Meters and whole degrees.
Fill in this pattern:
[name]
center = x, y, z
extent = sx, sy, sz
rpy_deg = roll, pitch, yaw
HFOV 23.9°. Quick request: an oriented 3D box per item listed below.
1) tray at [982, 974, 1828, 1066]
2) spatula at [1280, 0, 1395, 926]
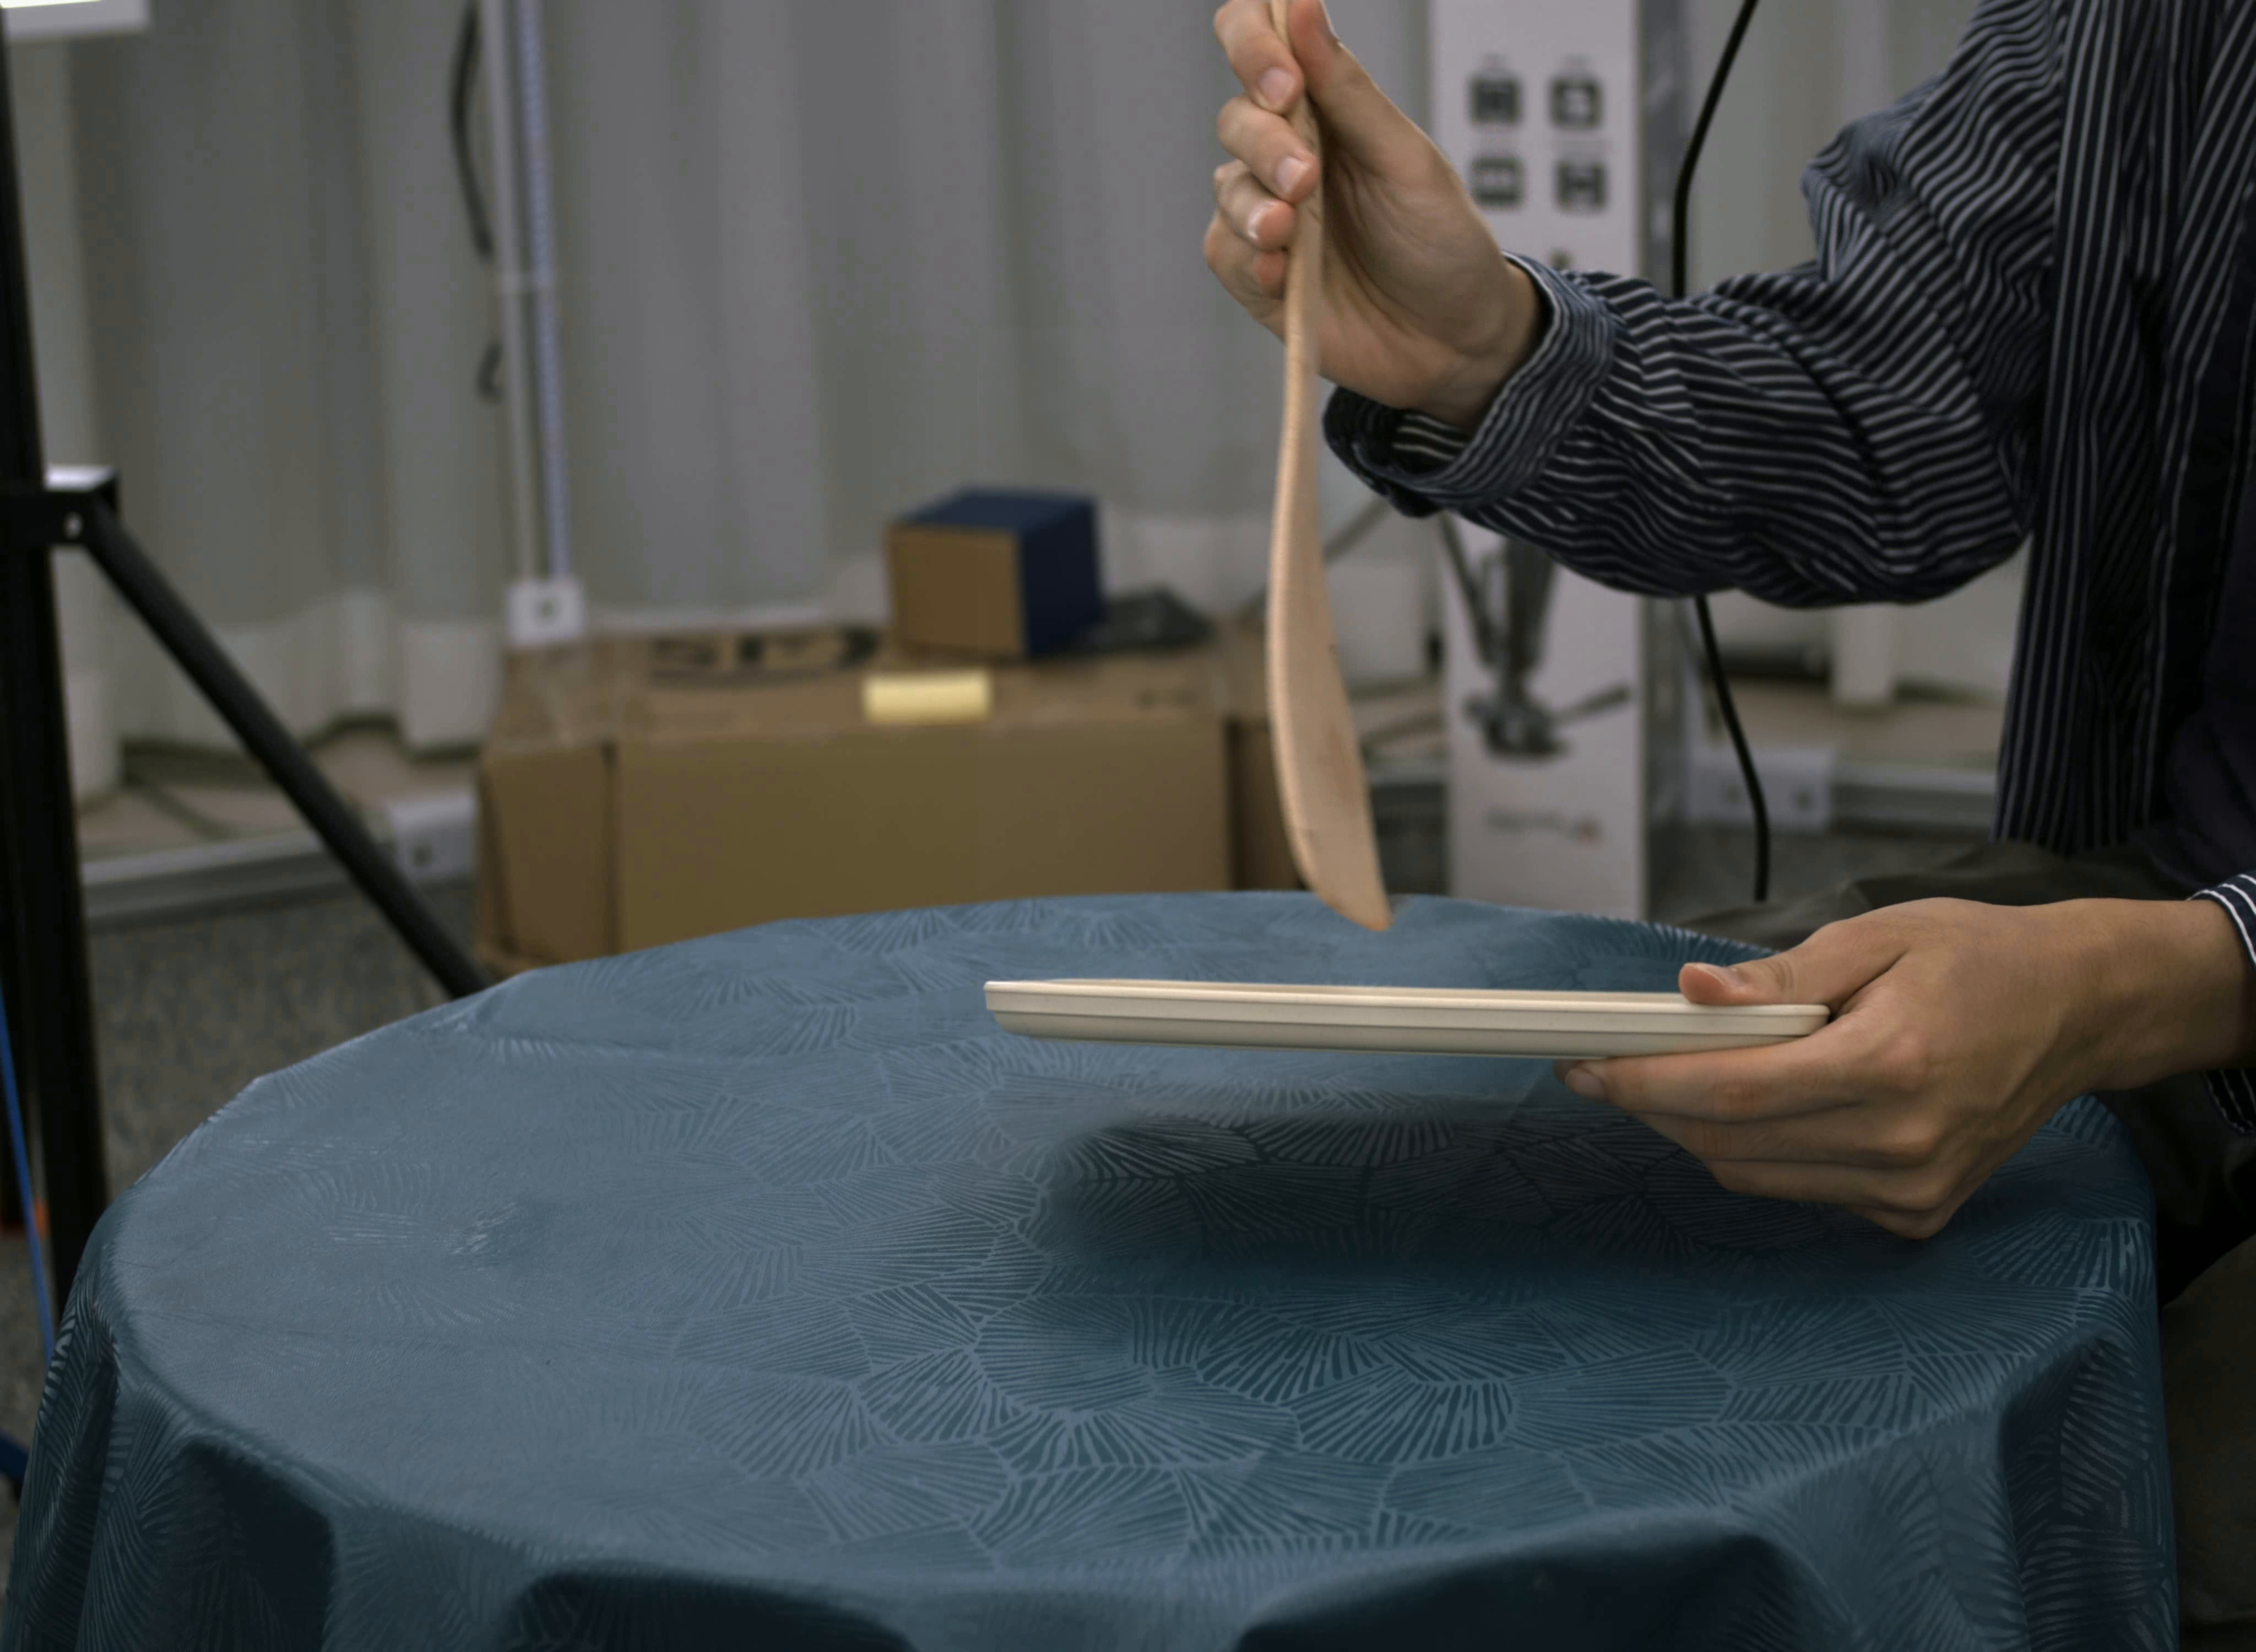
[tray]
center = 0.082, 0.056, 1.543
extent = 0.240, 0.017, 0.170
rpy_deg = 2, 0, 8
[spatula]
center = 0.059, -0.123, 1.592
extent = 0.016, 0.331, 0.078
rpy_deg = -8, -22, 18
